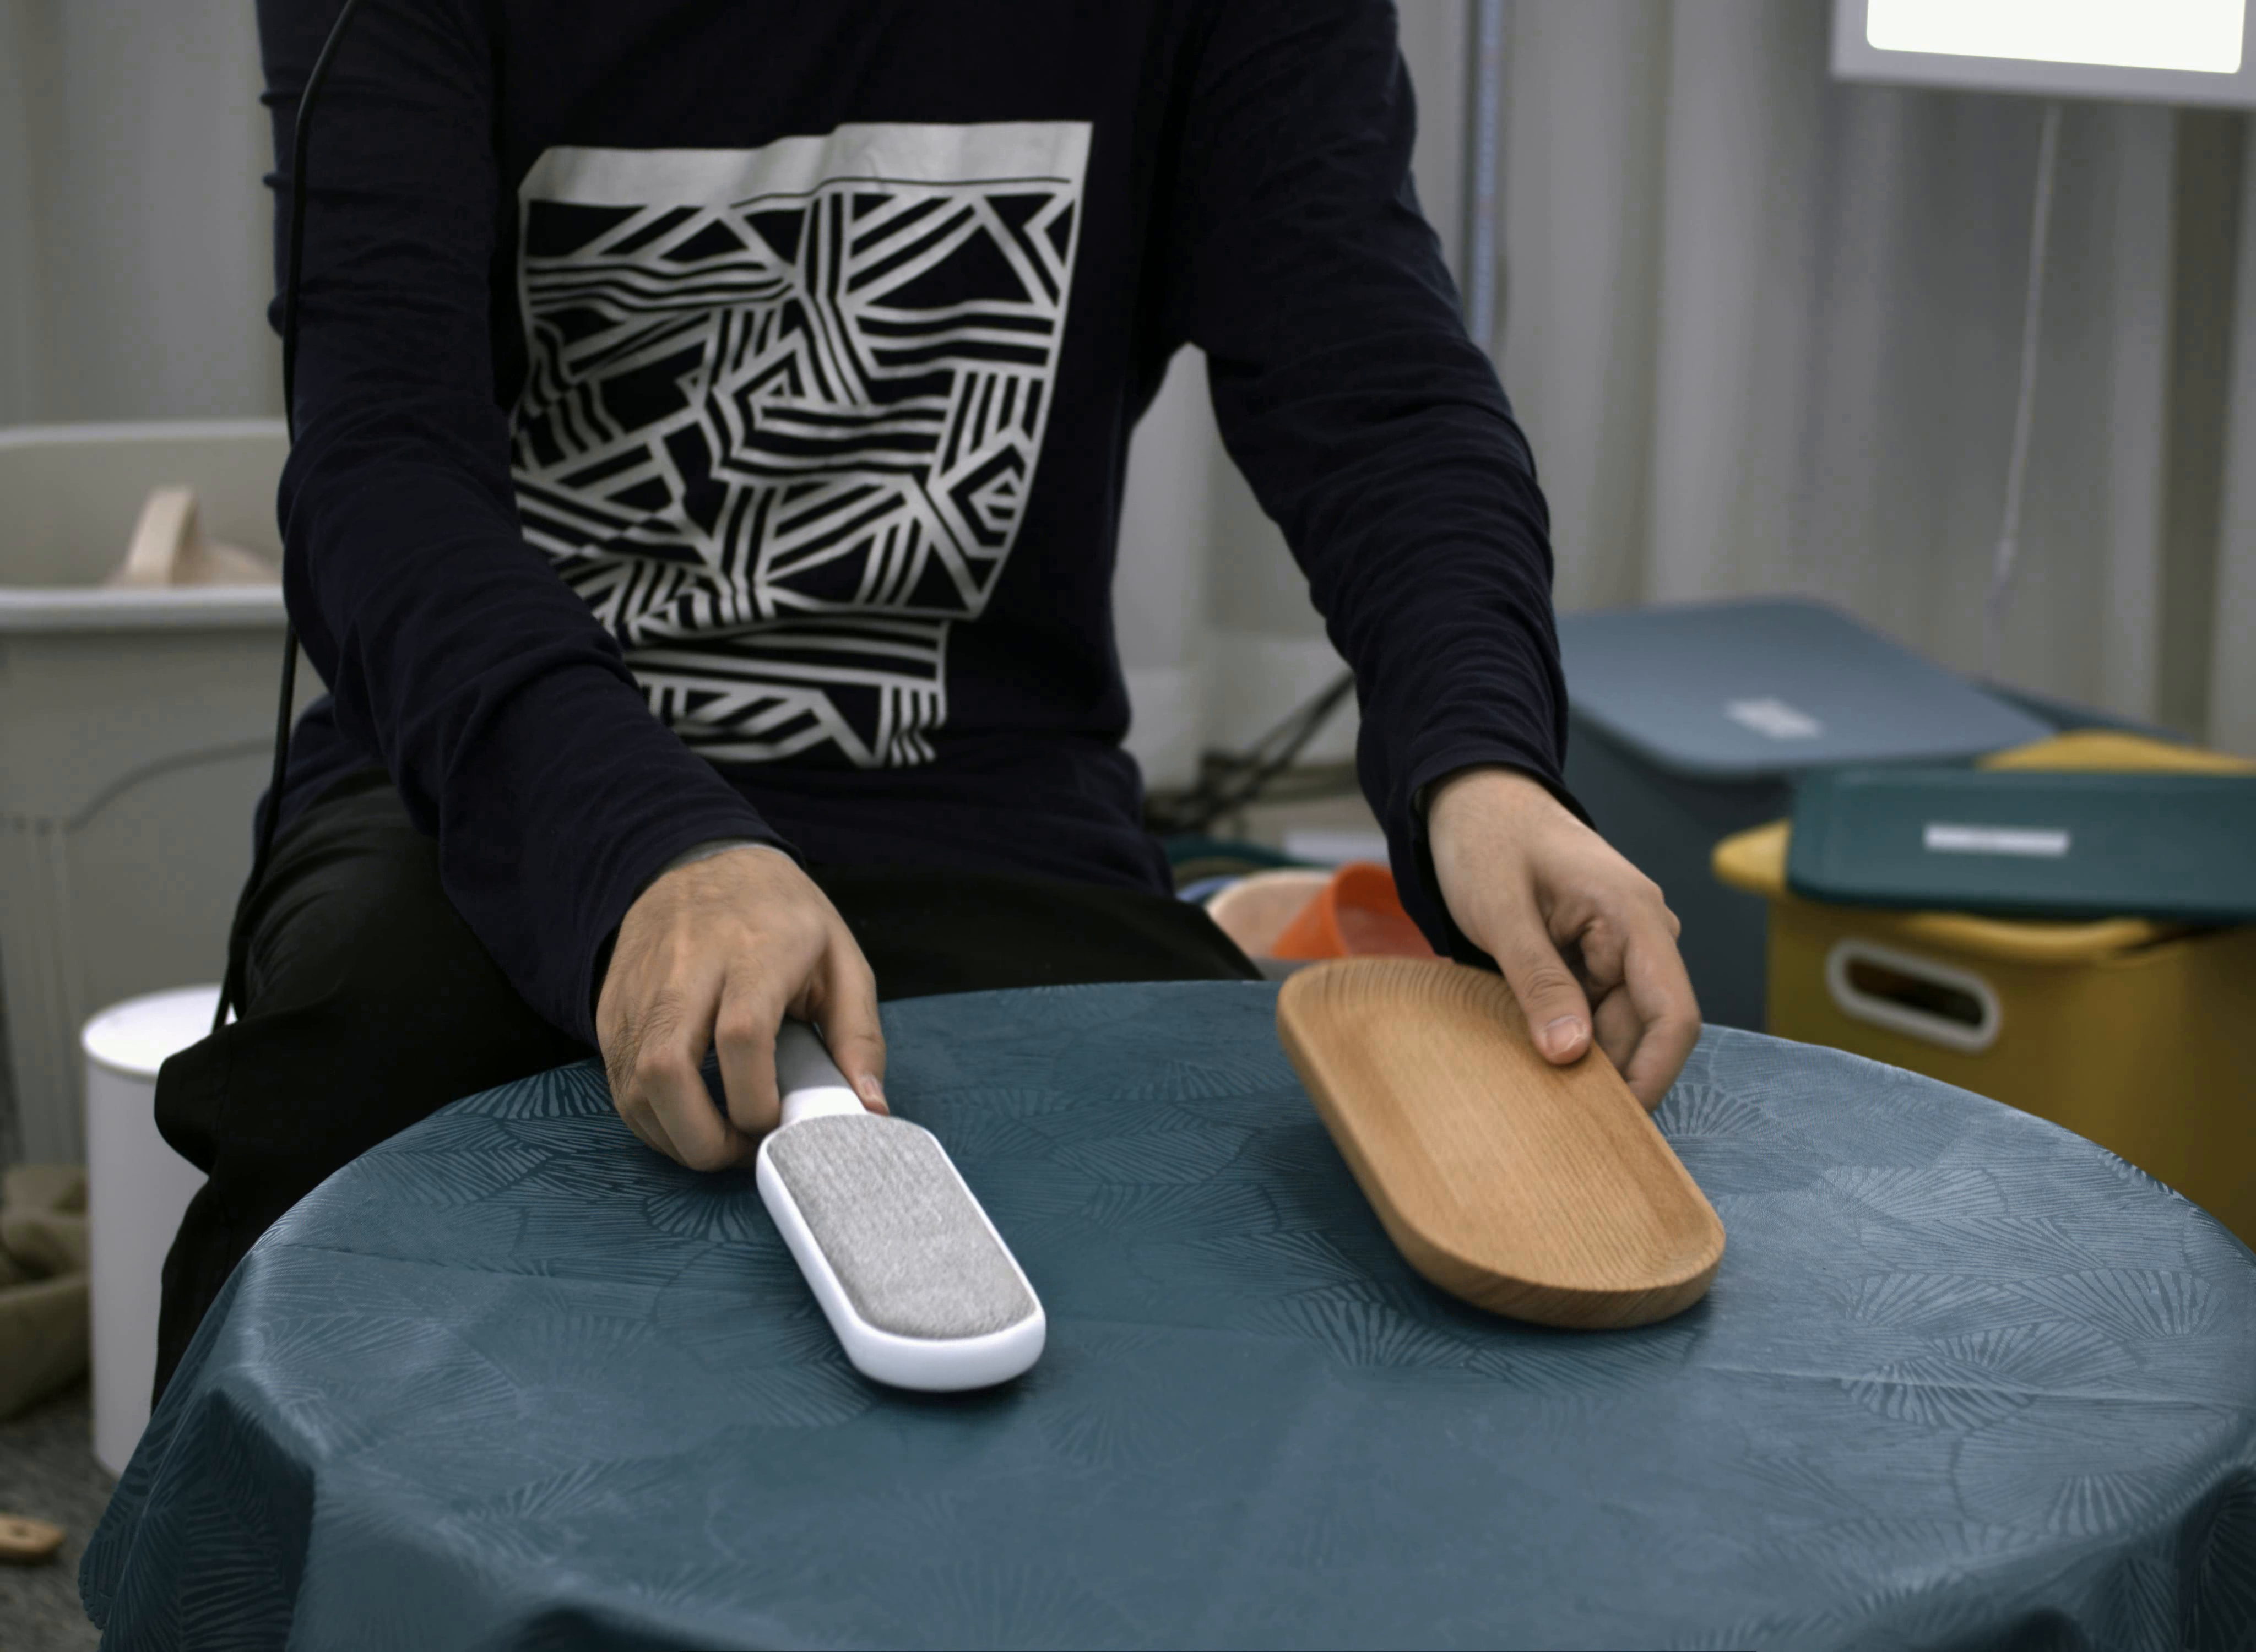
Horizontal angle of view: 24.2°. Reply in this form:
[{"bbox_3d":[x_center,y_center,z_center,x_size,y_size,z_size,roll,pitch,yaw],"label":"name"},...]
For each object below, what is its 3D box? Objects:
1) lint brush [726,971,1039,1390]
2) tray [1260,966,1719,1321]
[{"bbox_3d":[-0.082,0.101,1.579,0.060,0.021,0.305,-10,20,-12],"label":"lint brush"},{"bbox_3d":[0.107,0.094,1.610,0.102,0.020,0.228,2,20,-16],"label":"tray"}]
